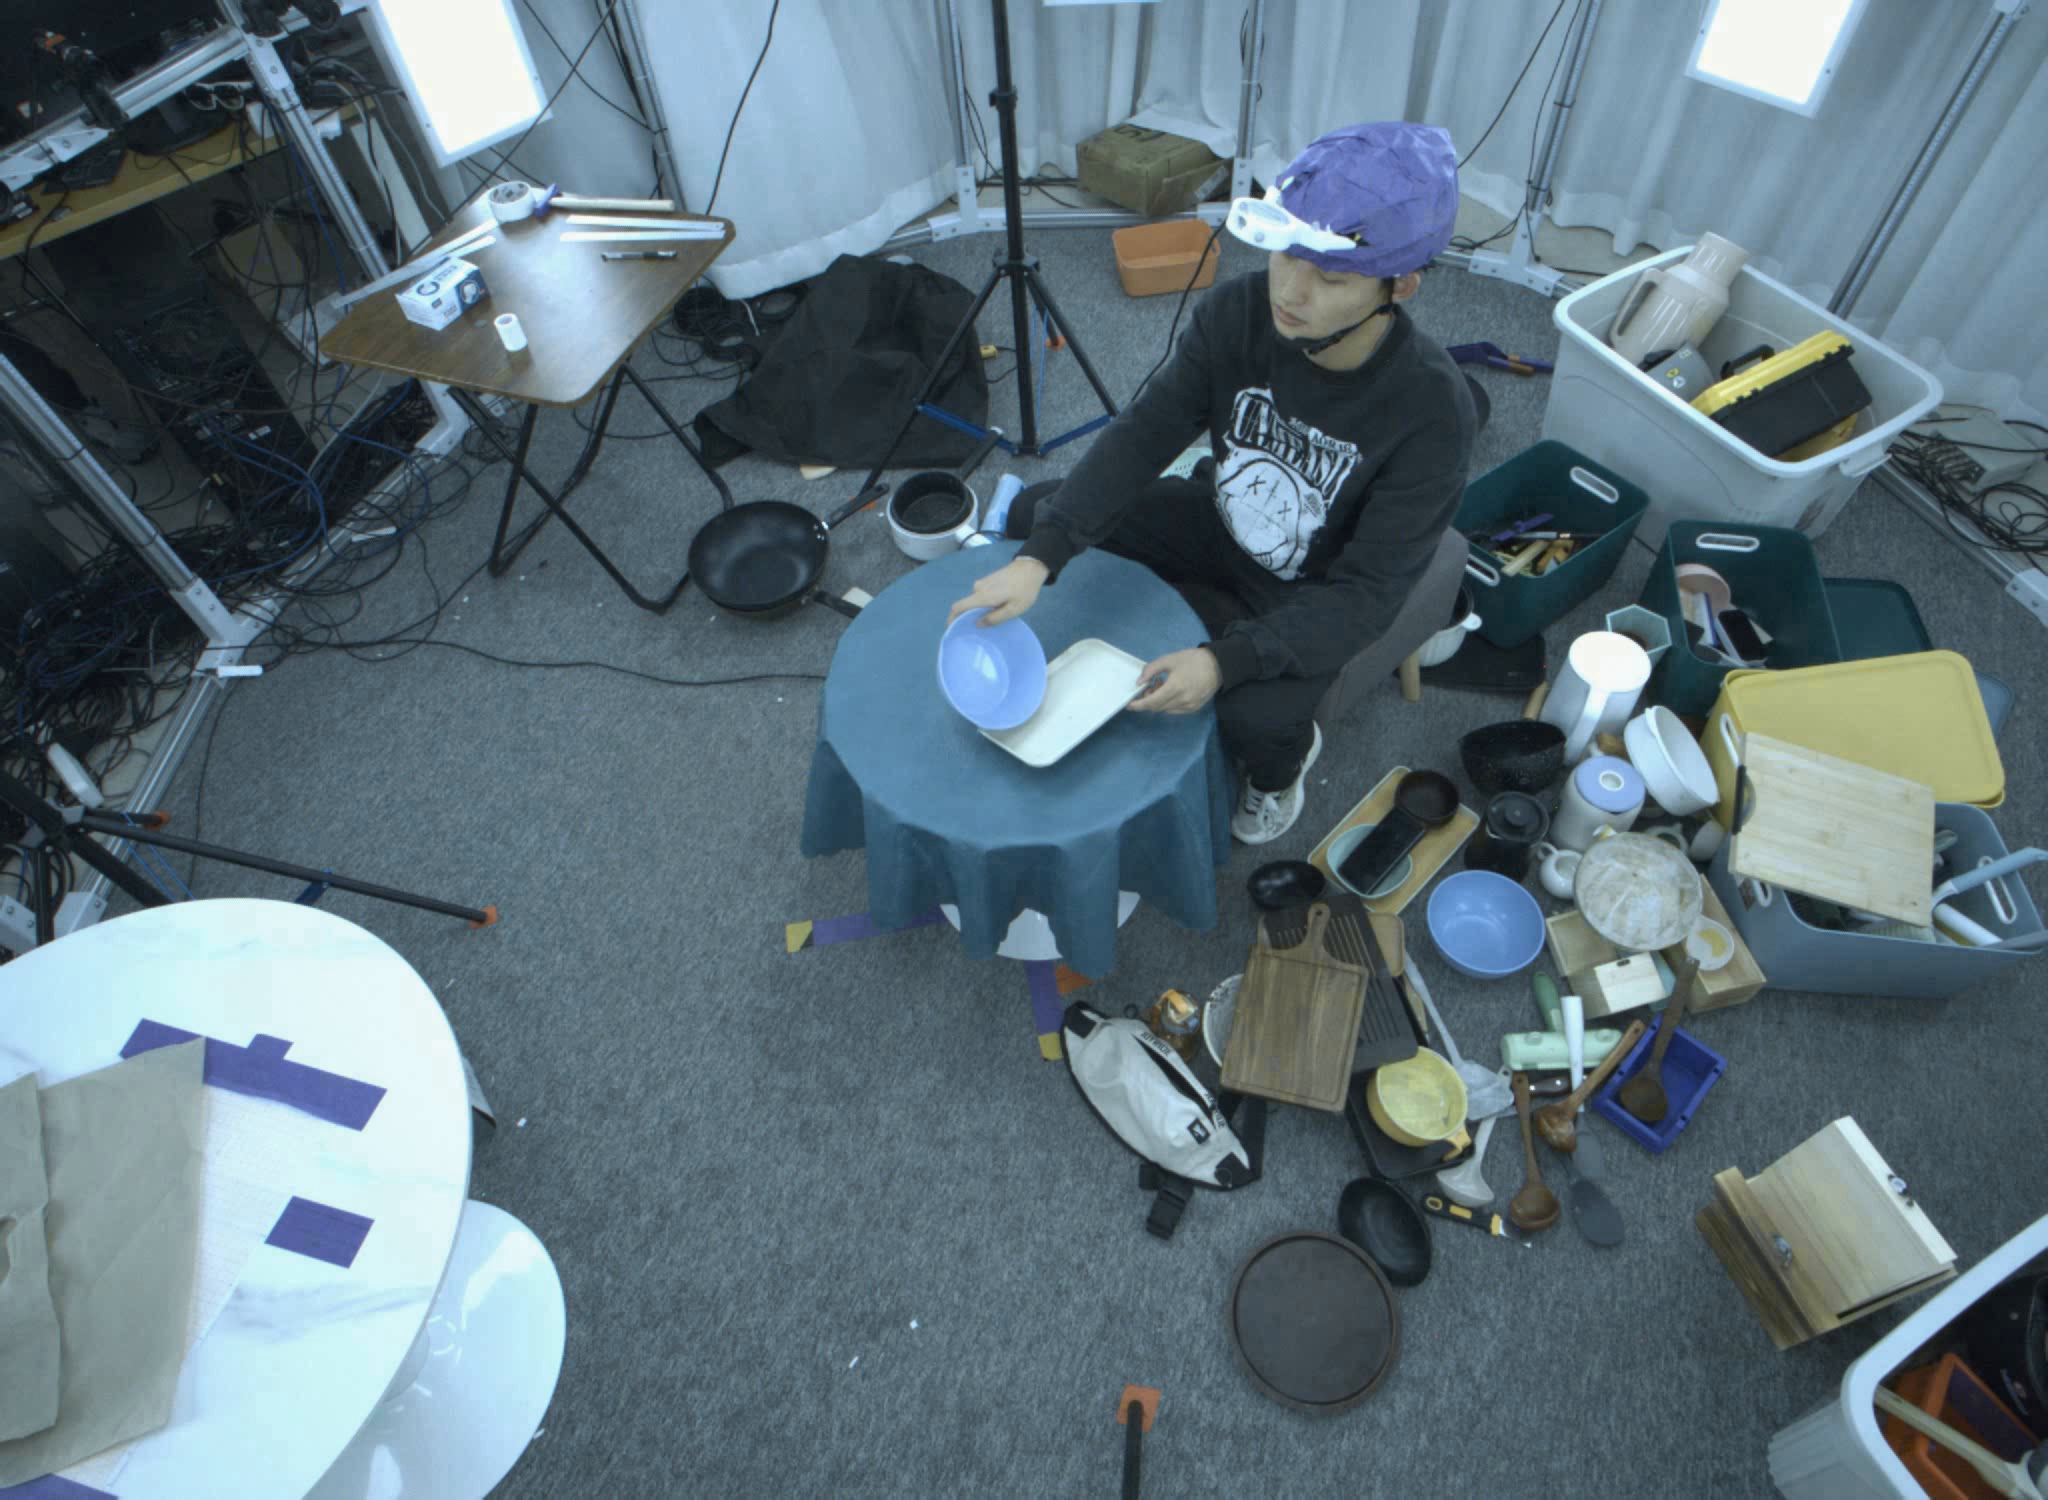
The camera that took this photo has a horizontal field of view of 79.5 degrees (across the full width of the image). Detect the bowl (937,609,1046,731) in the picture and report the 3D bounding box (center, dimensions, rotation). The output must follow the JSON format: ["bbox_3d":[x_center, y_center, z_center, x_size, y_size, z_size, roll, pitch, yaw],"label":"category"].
[{"bbox_3d":[-0.058,-0.111,1.769,0.180,0.069,0.175,5,82,-33],"label":"bowl"}]

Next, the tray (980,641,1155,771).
[{"bbox_3d":[0.064,-0.066,1.800,0.241,0.018,0.167,-39,45,-19],"label":"tray"}]
